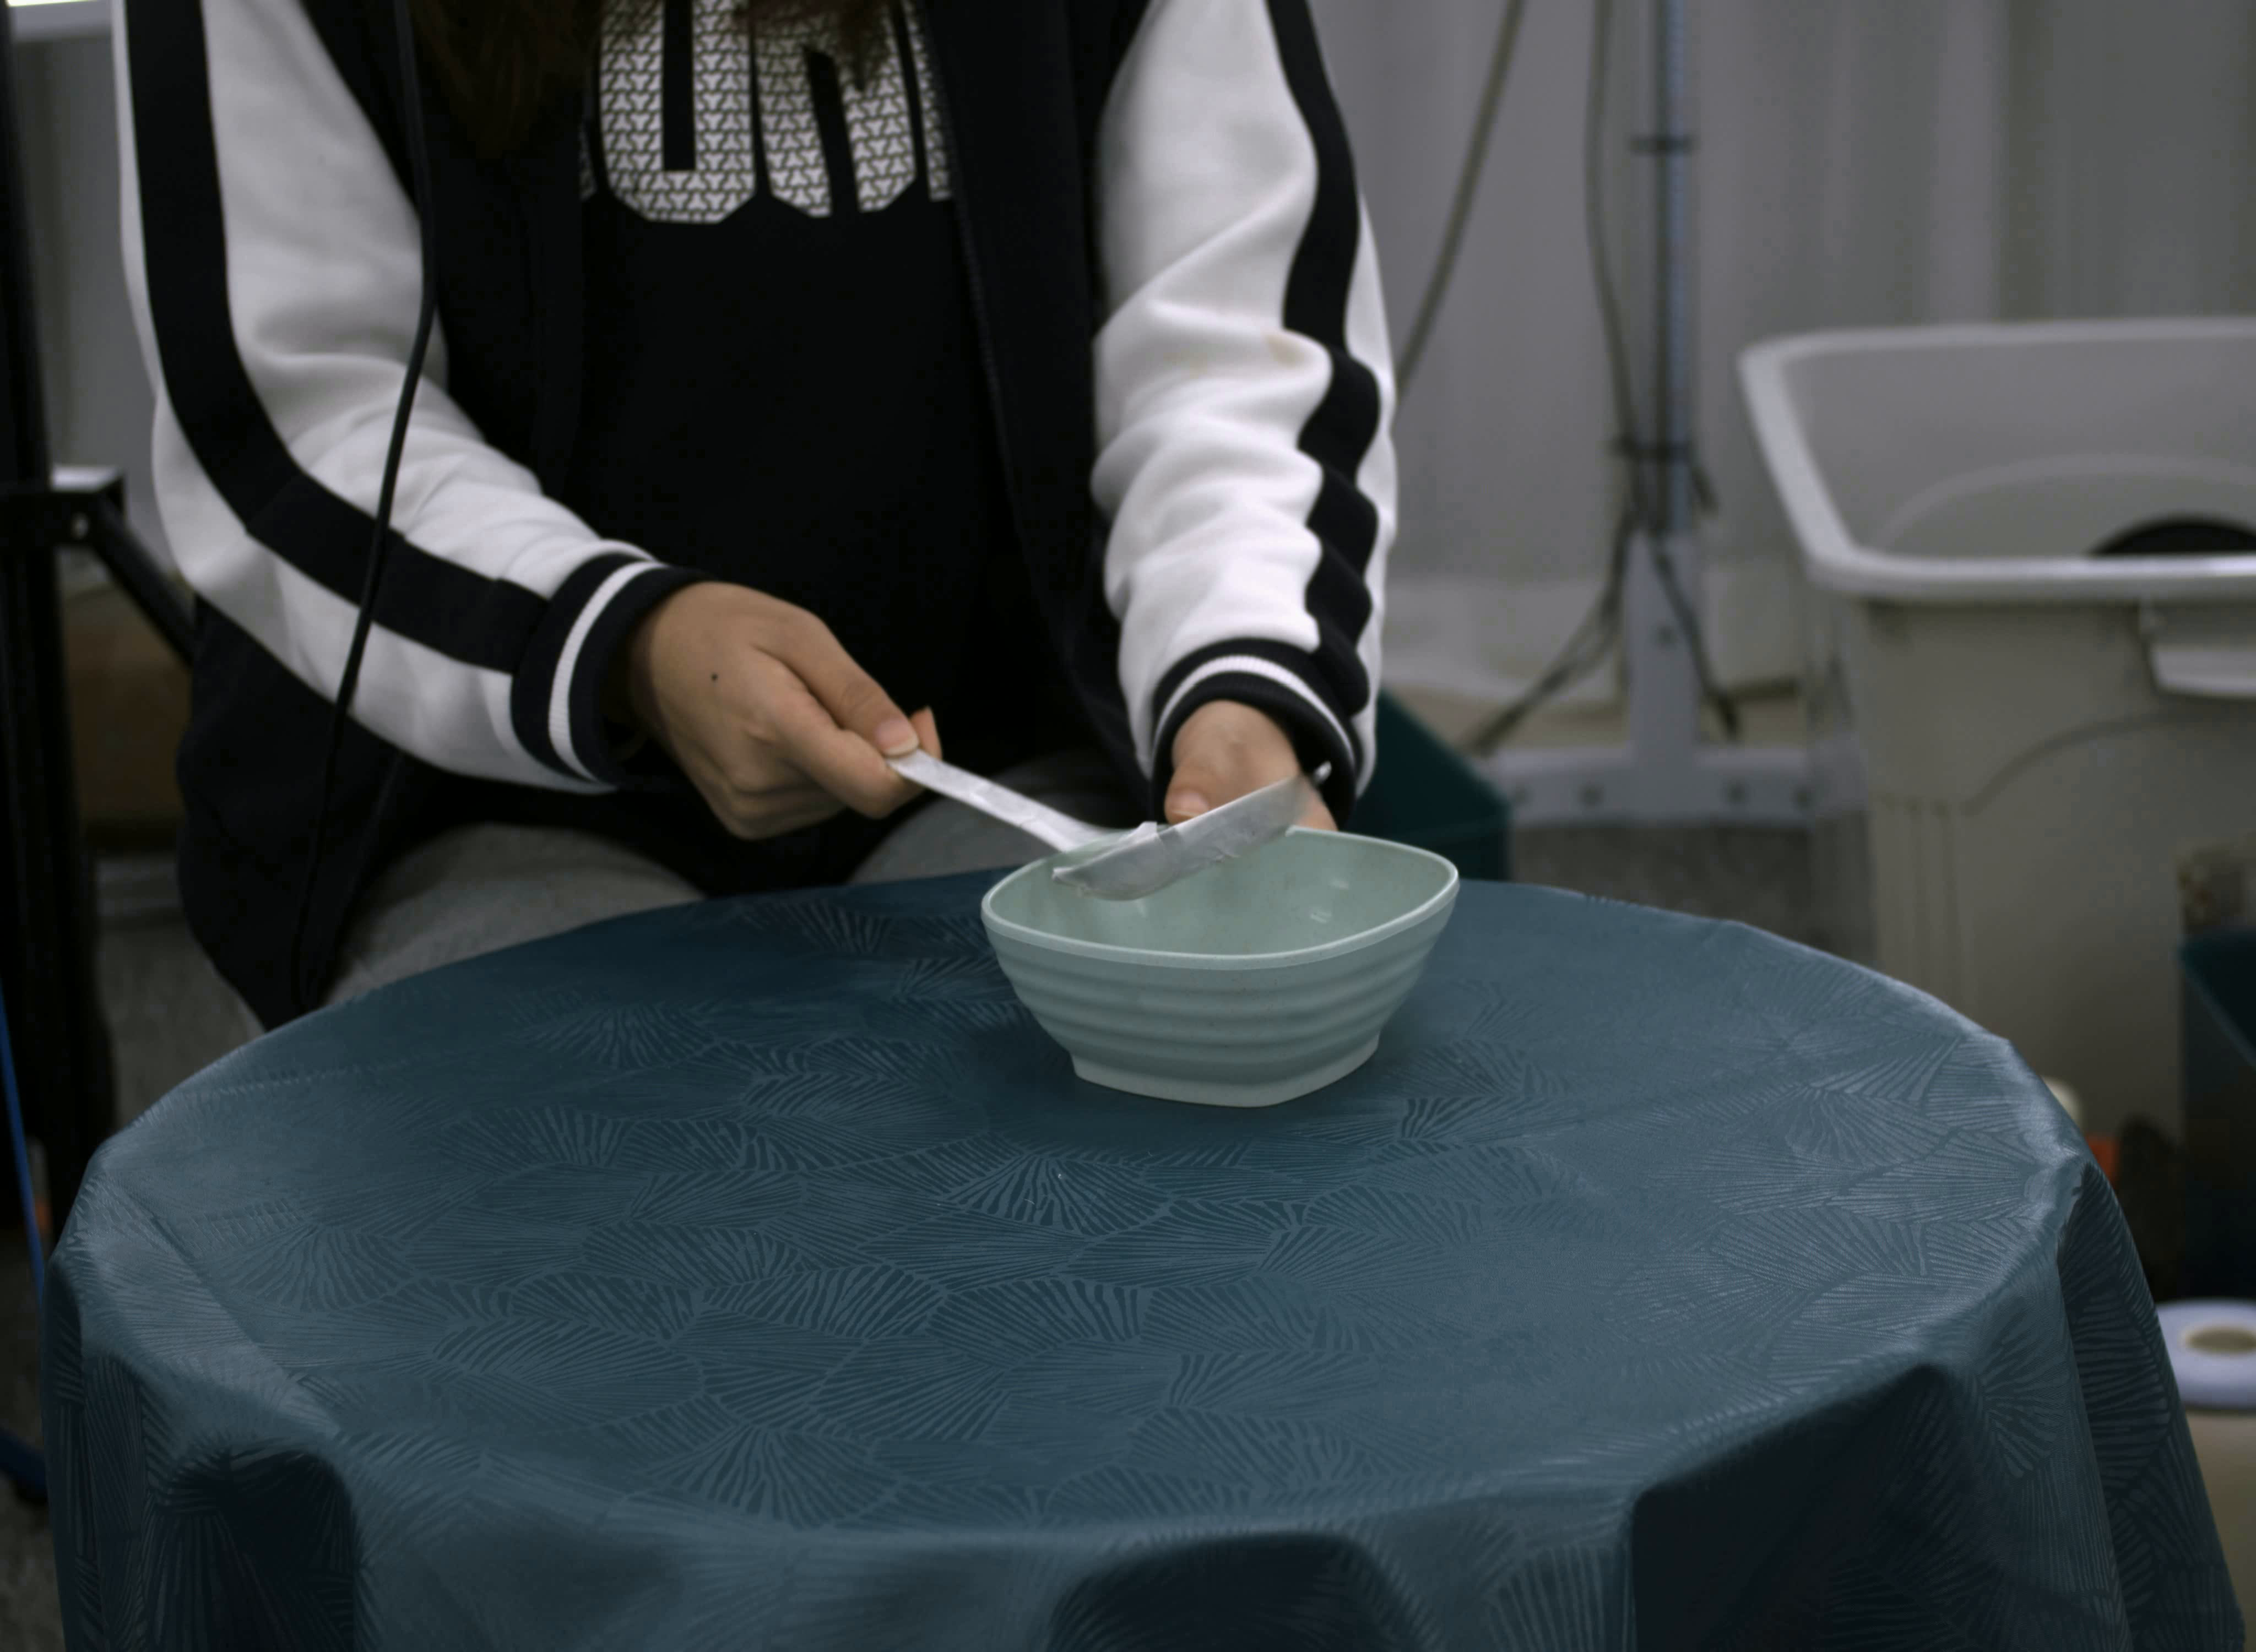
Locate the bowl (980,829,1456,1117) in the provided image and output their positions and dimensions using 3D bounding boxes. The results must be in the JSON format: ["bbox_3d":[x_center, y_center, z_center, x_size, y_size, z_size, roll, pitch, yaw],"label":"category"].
[{"bbox_3d":[0.029,0.049,1.665,0.150,0.058,0.152,-3,16,-1],"label":"bowl"}]

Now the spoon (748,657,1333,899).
[{"bbox_3d":[-0.038,-0.033,1.716,0.098,0.059,0.284,-13,27,-34],"label":"spoon"}]
